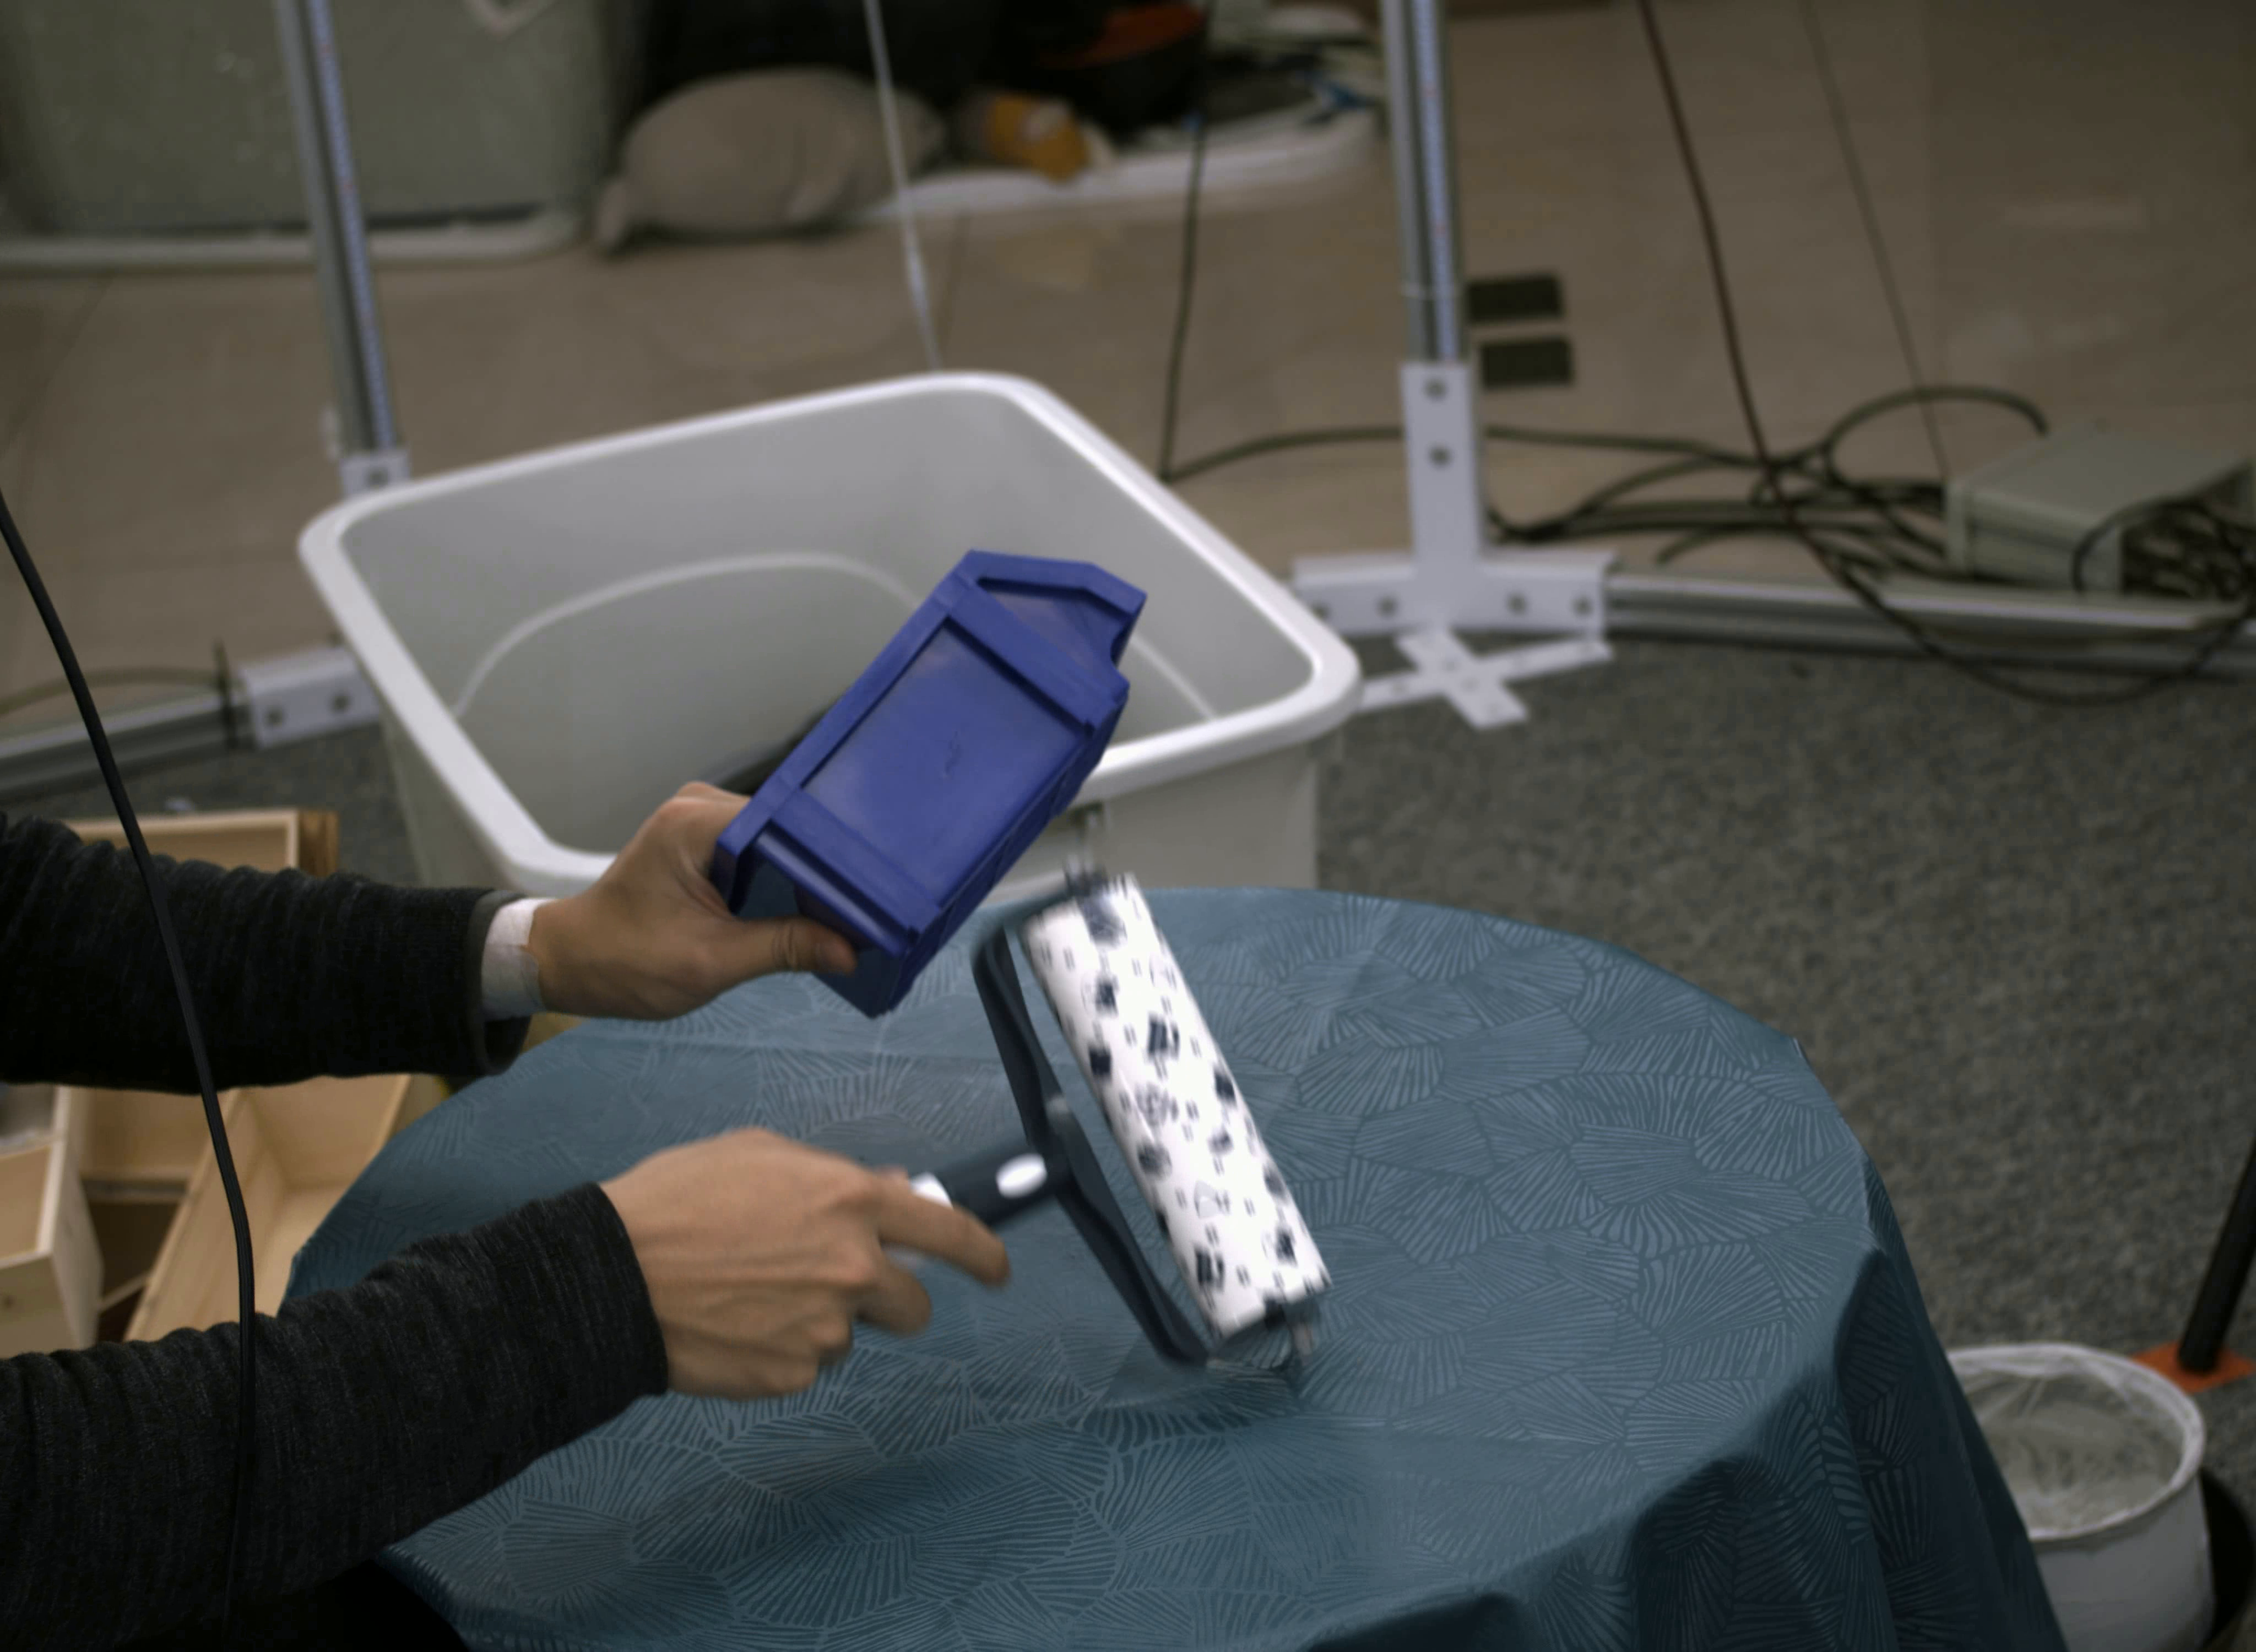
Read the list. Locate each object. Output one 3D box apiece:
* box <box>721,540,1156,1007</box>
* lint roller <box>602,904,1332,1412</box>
[{"bbox_3d":[-0.067,-0.023,2.146,0.082,0.125,0.178,37,75,4],"label":"box"},{"bbox_3d":[-0.068,0.147,1.975,0.245,0.175,0.051,-22,-12,-21],"label":"lint roller"}]
